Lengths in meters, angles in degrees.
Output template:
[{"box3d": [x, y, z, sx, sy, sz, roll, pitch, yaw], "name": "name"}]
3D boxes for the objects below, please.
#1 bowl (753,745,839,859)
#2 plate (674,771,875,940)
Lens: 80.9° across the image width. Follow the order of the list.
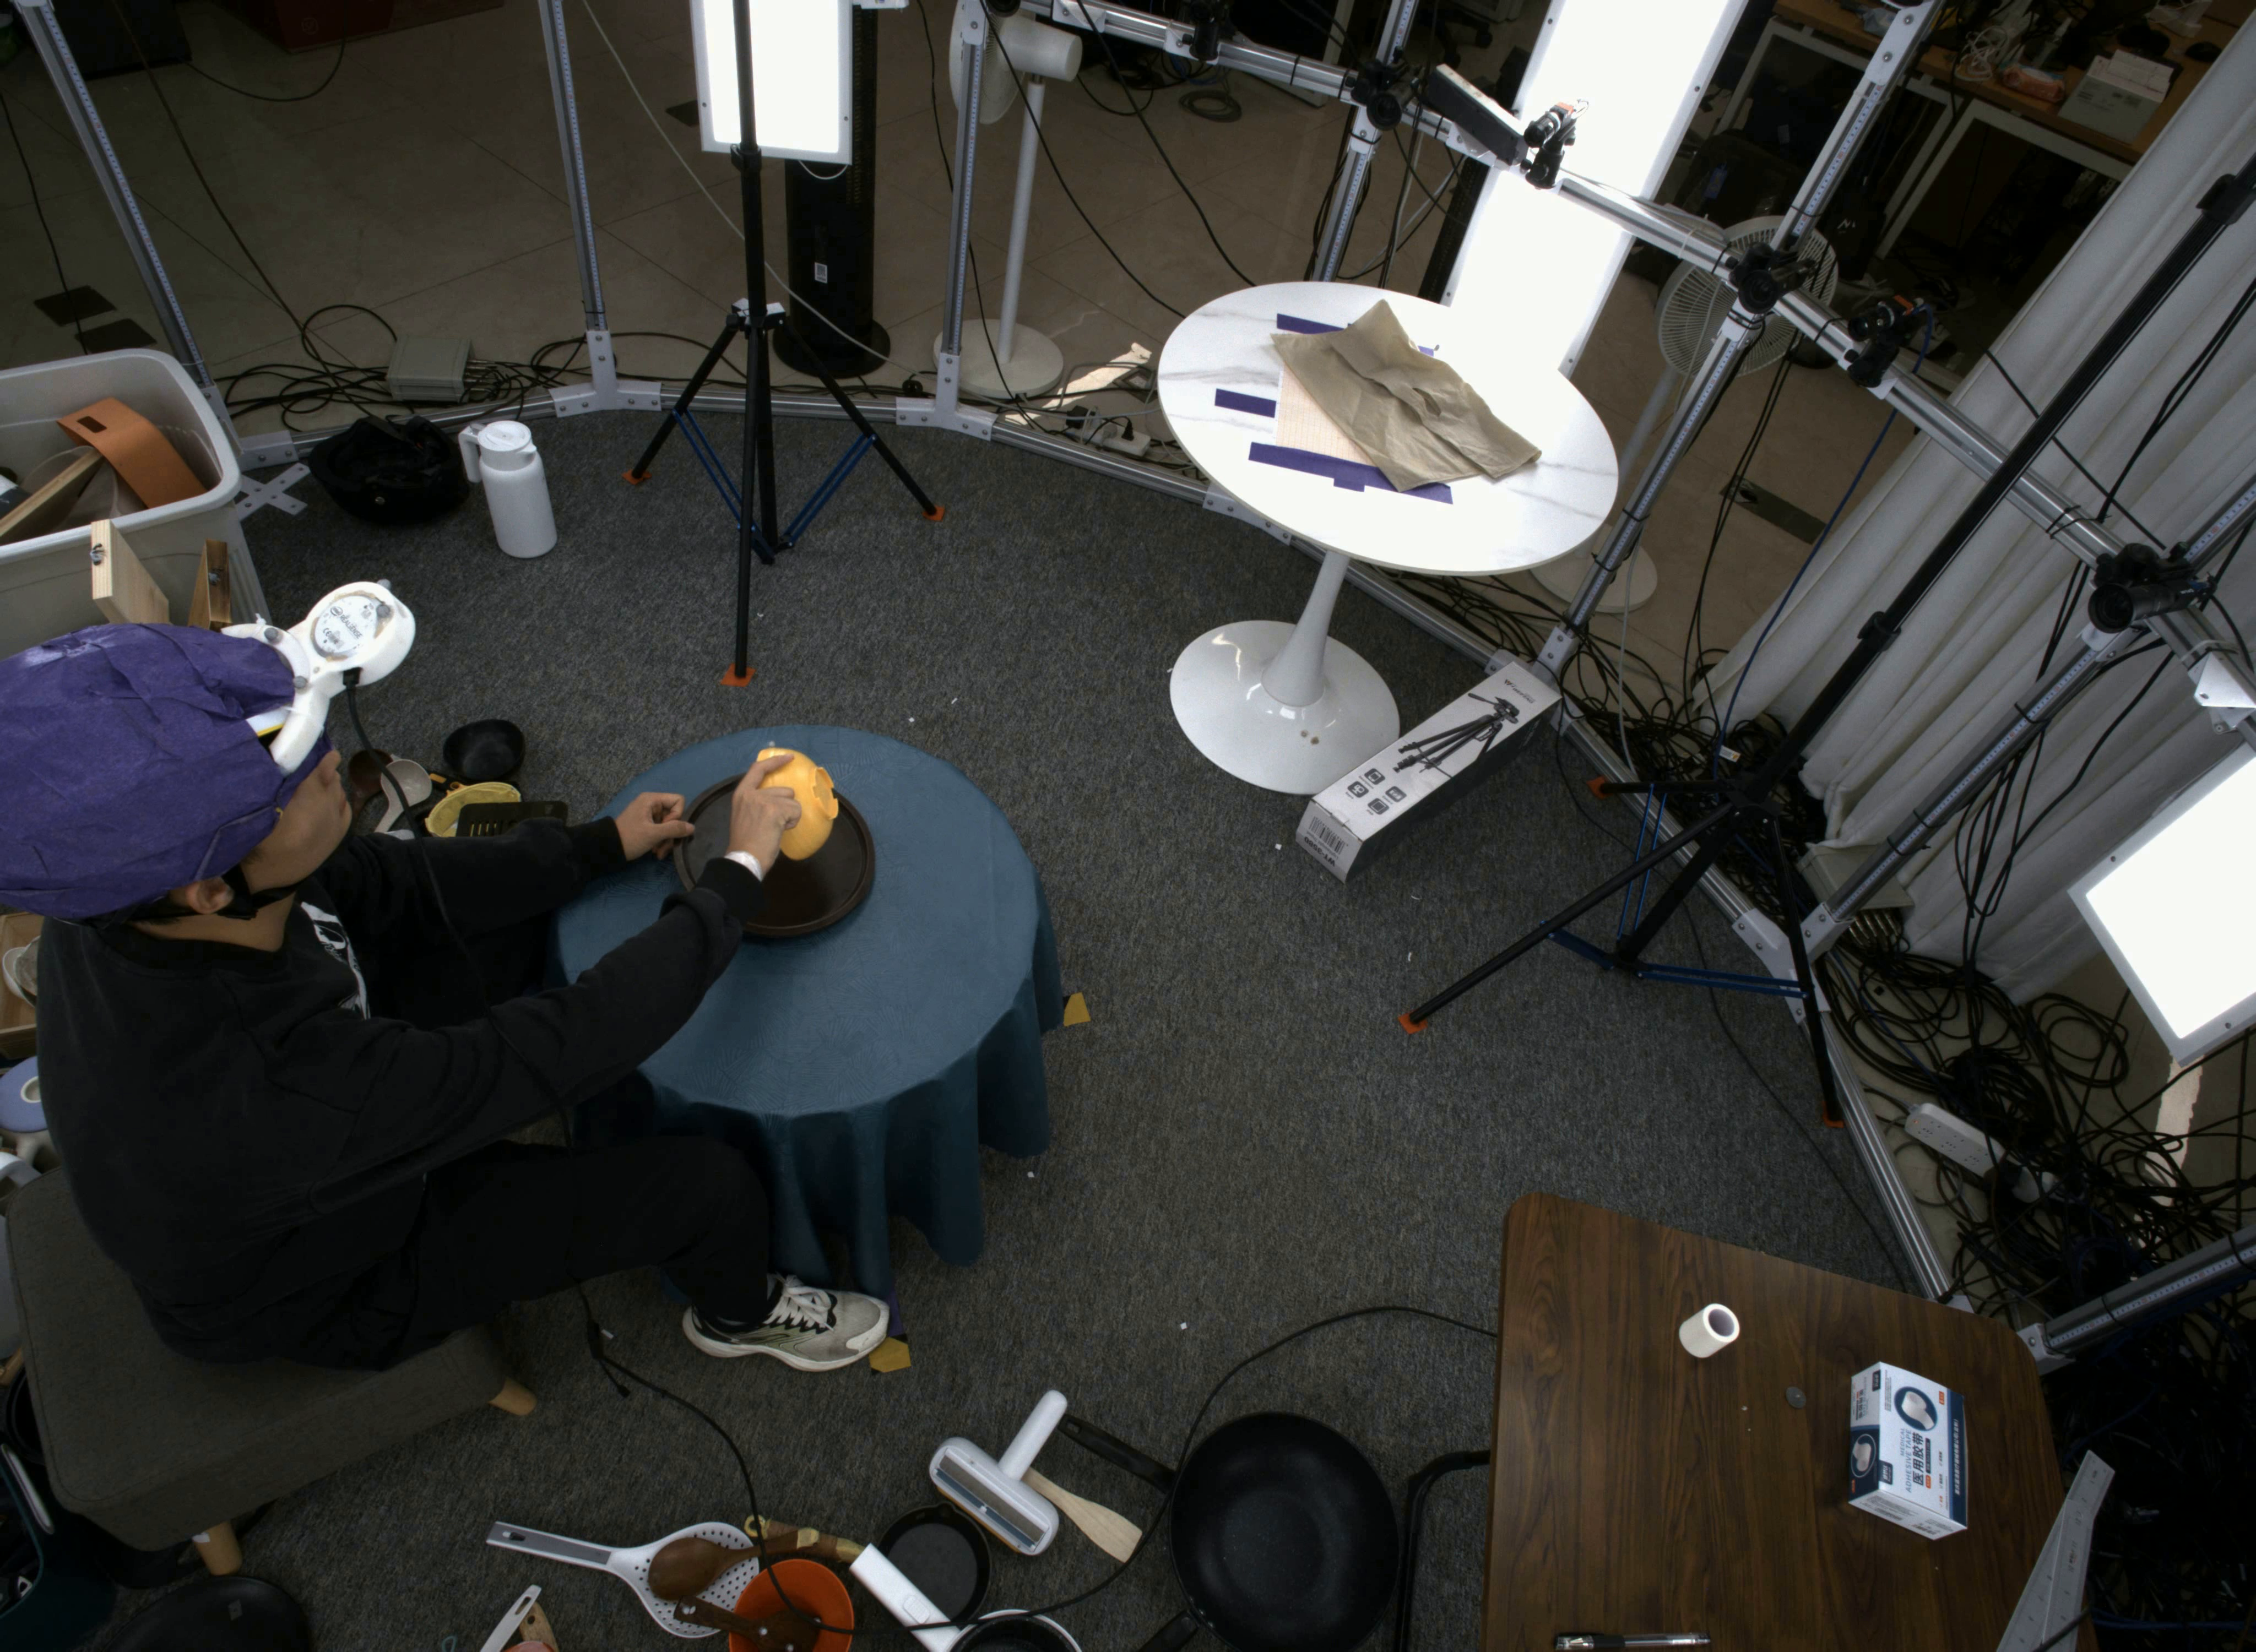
[{"box3d": [-0.394, -0.039, 1.578, 0.059, 0.150, 0.142, -19, 55, 6], "name": "bowl"}, {"box3d": [-0.453, 0.035, 1.662, 0.256, 0.029, 0.250, 13, 55, -16], "name": "plate"}]
